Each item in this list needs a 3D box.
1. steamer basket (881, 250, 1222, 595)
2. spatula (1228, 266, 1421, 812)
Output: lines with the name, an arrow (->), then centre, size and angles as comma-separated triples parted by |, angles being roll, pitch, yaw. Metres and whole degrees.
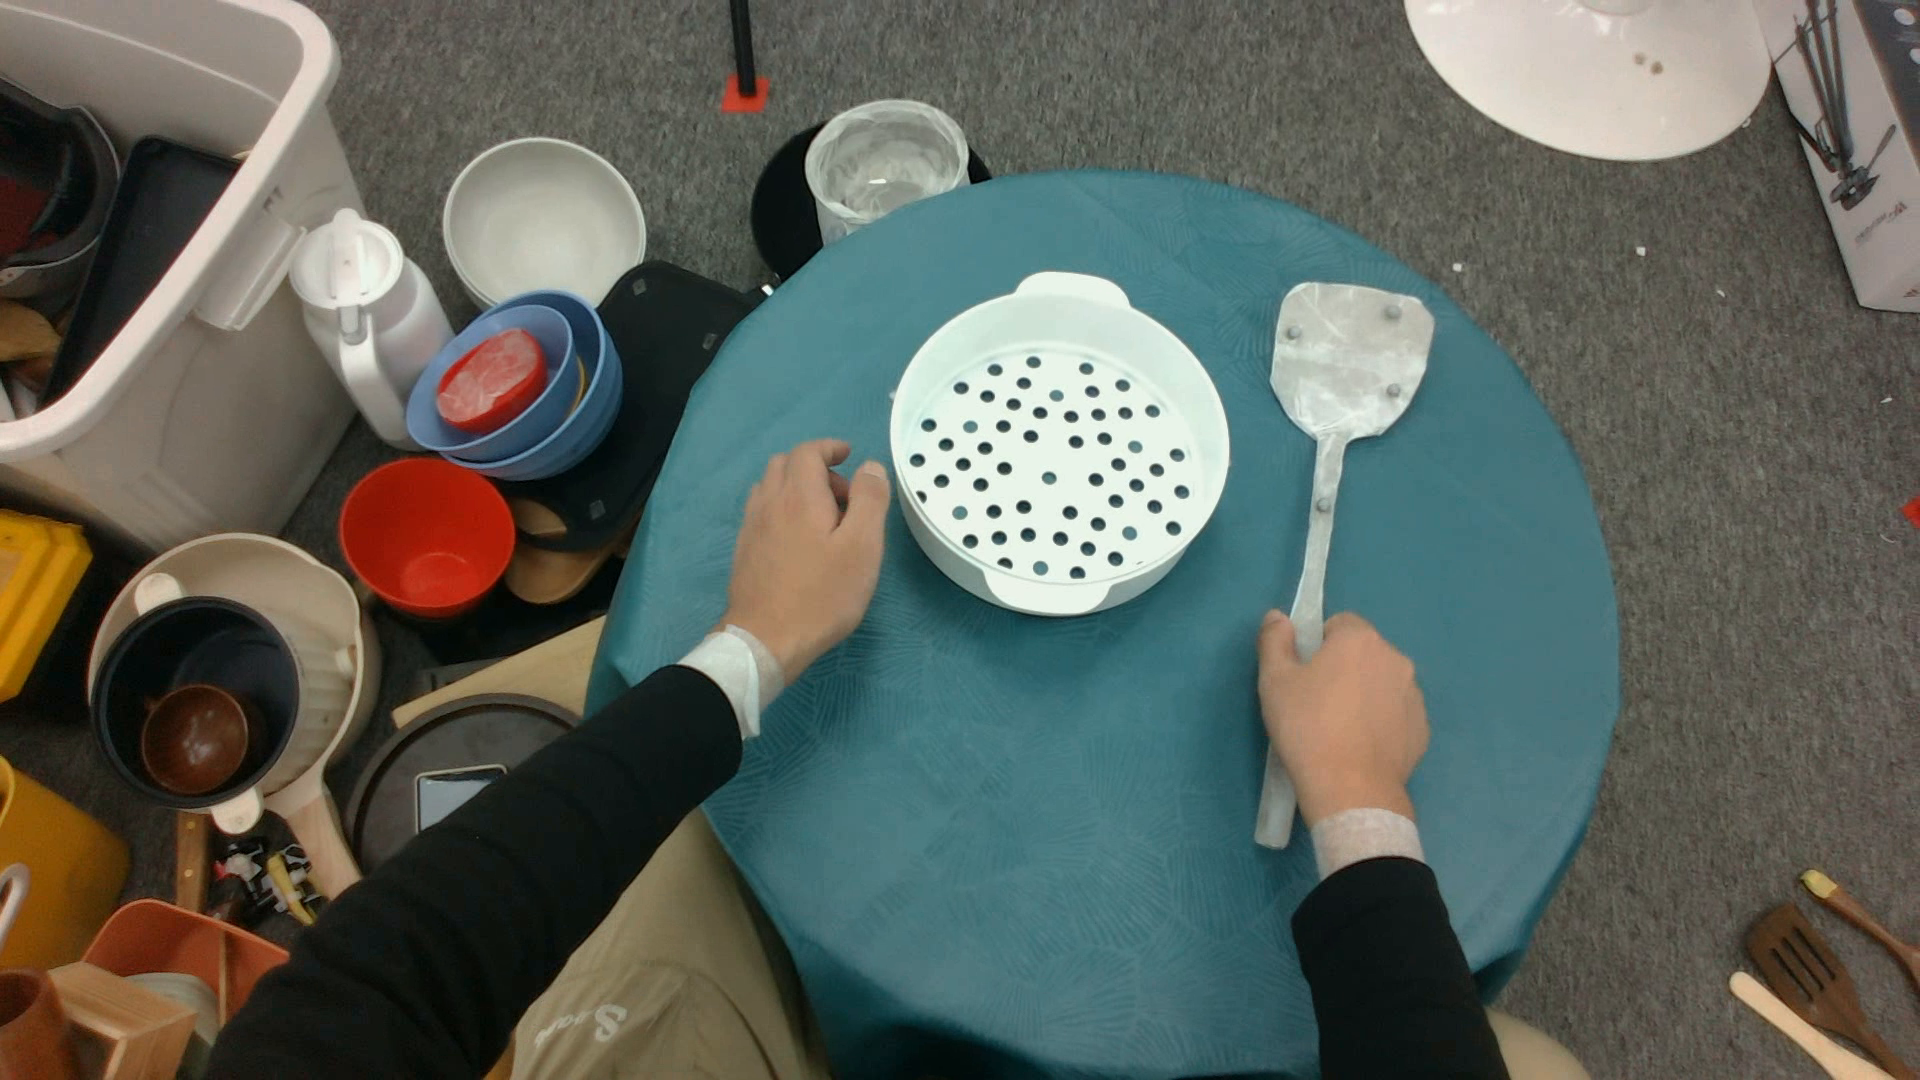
steamer basket -> 0.053, -0.065, 0.836 | 0.202, 0.069, 0.231 | 7, 66, 0
spatula -> 0.209, -0.010, 0.837 | 0.098, 0.044, 0.366 | 14, 63, 6
